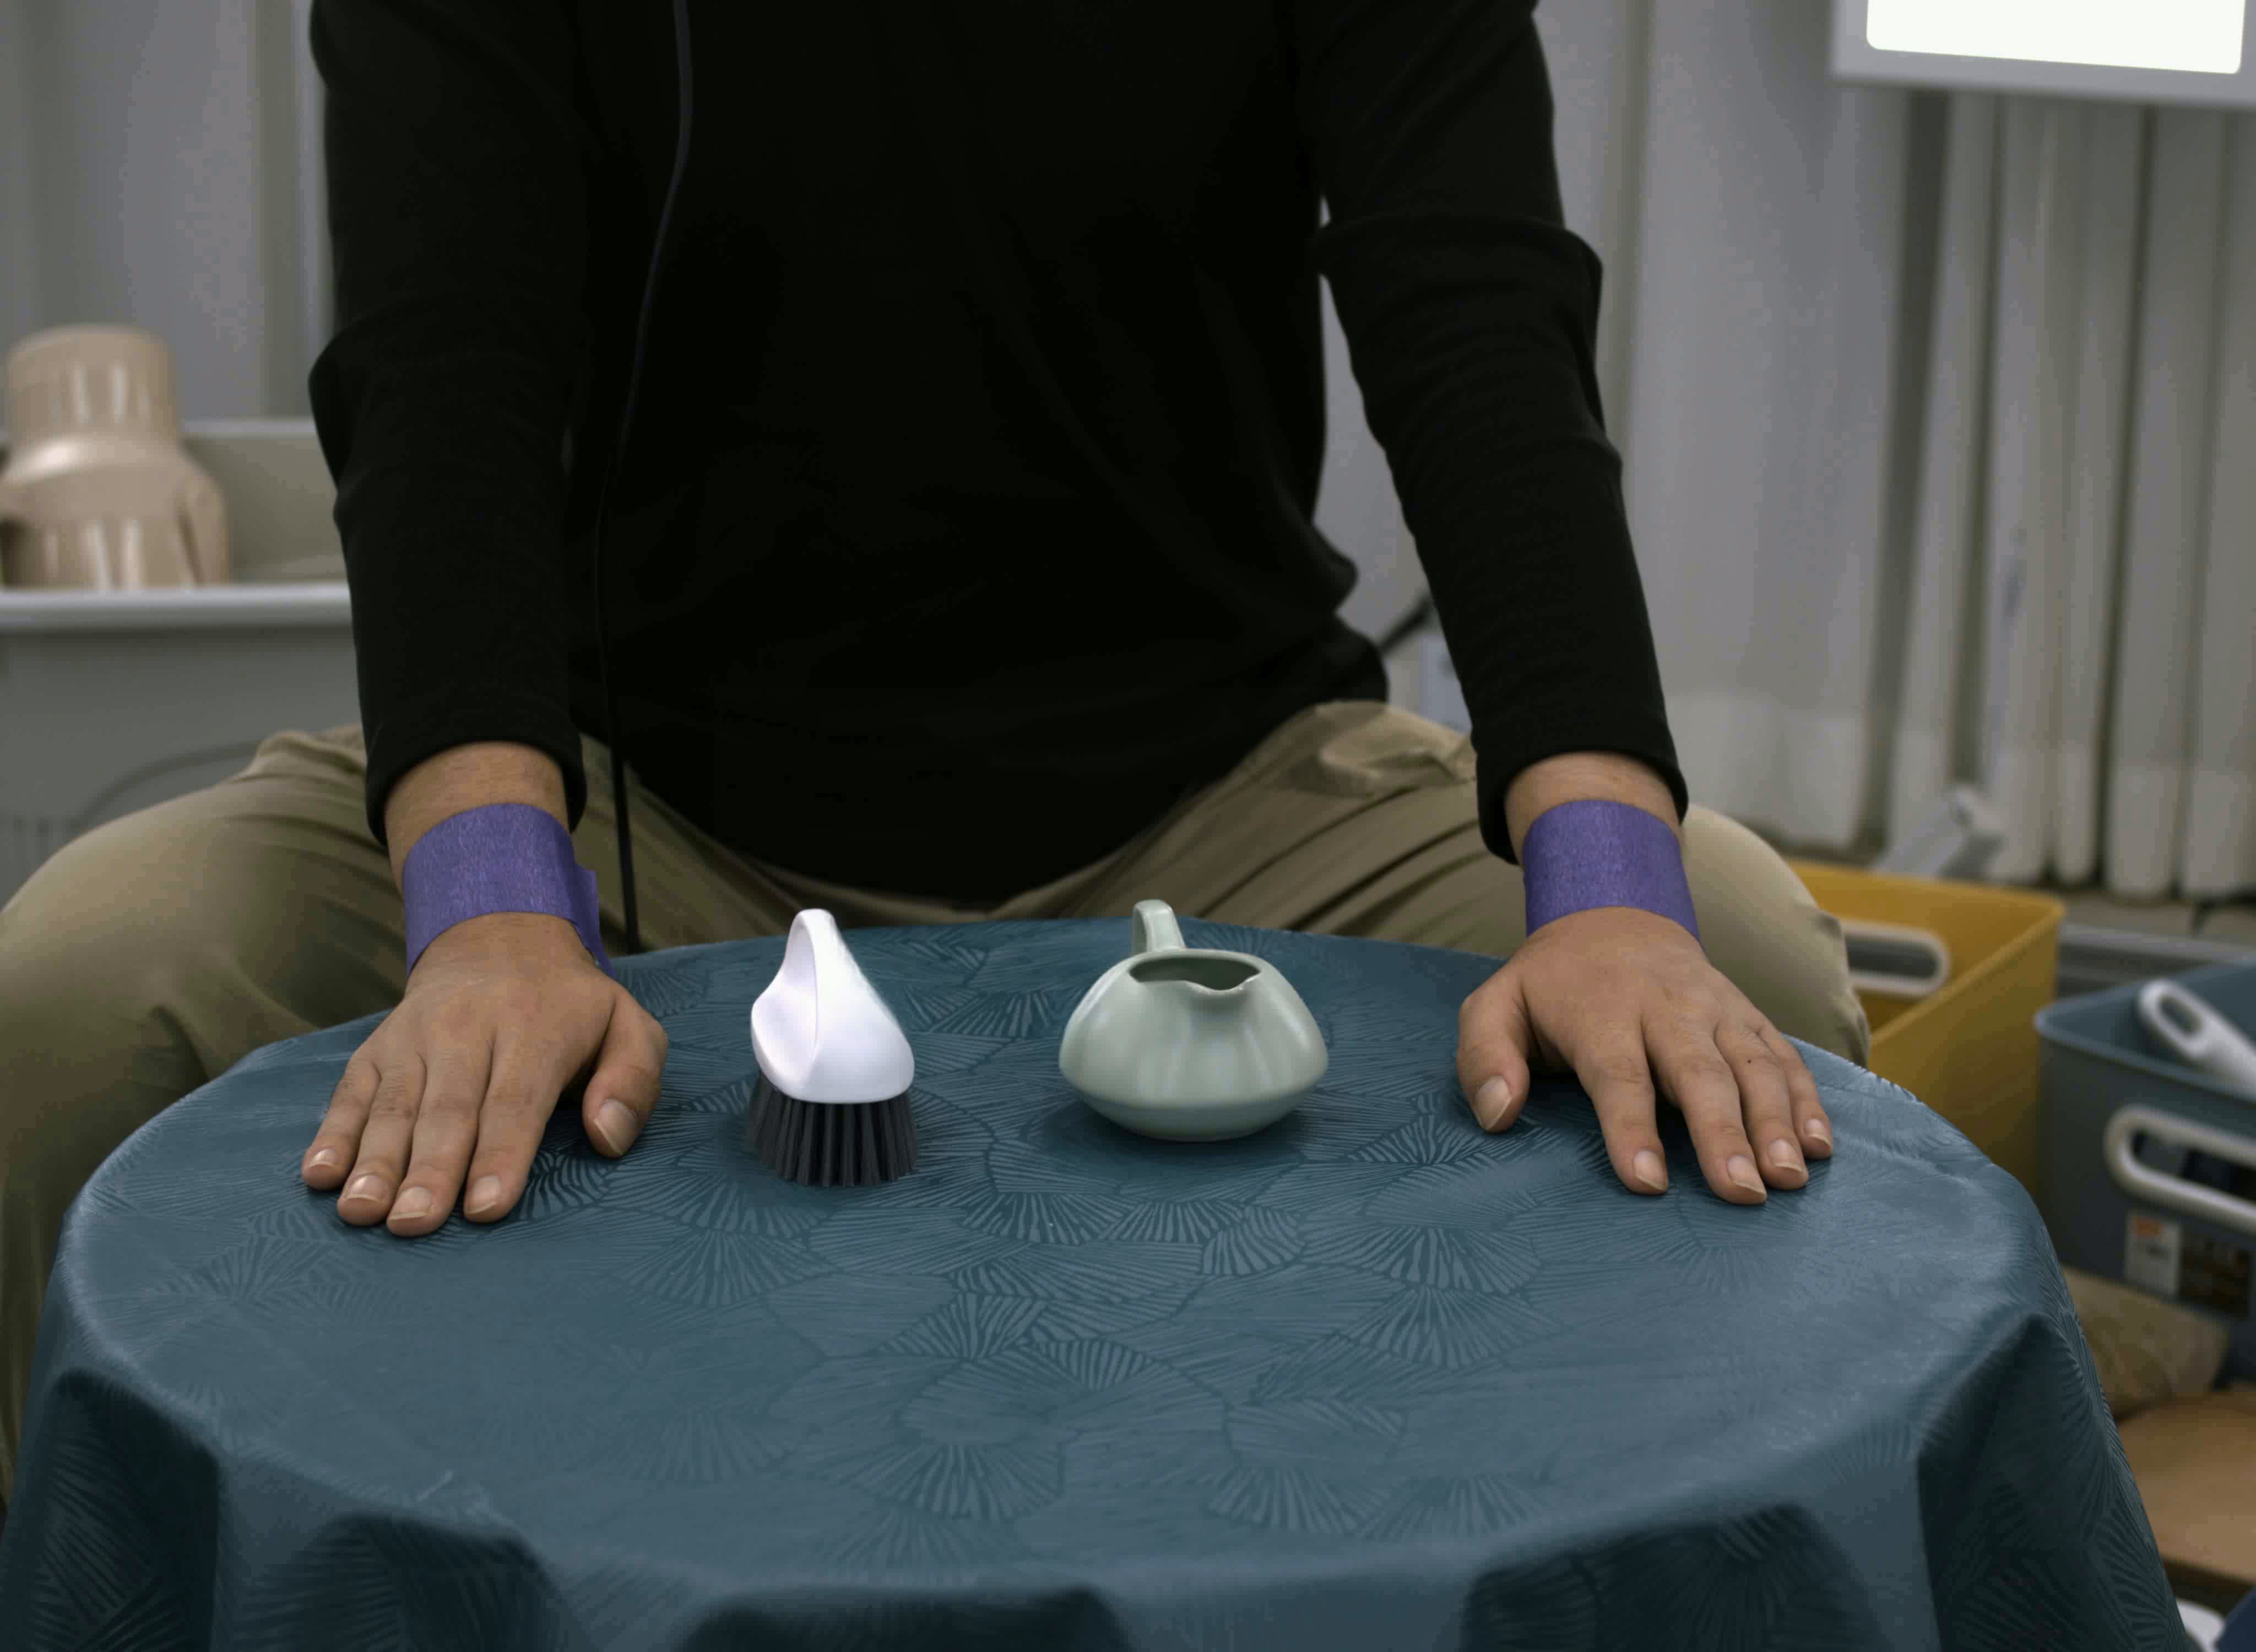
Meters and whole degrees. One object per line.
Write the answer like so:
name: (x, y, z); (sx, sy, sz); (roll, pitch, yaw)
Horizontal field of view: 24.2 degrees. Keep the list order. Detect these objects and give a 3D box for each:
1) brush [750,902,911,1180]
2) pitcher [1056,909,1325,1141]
brush: (-0.094, 0.062, 1.658); (0.050, 0.073, 0.098); (-1, 17, -7)
pitcher: (0.017, 0.065, 1.692); (0.086, 0.061, 0.107); (-4, 13, -16)
